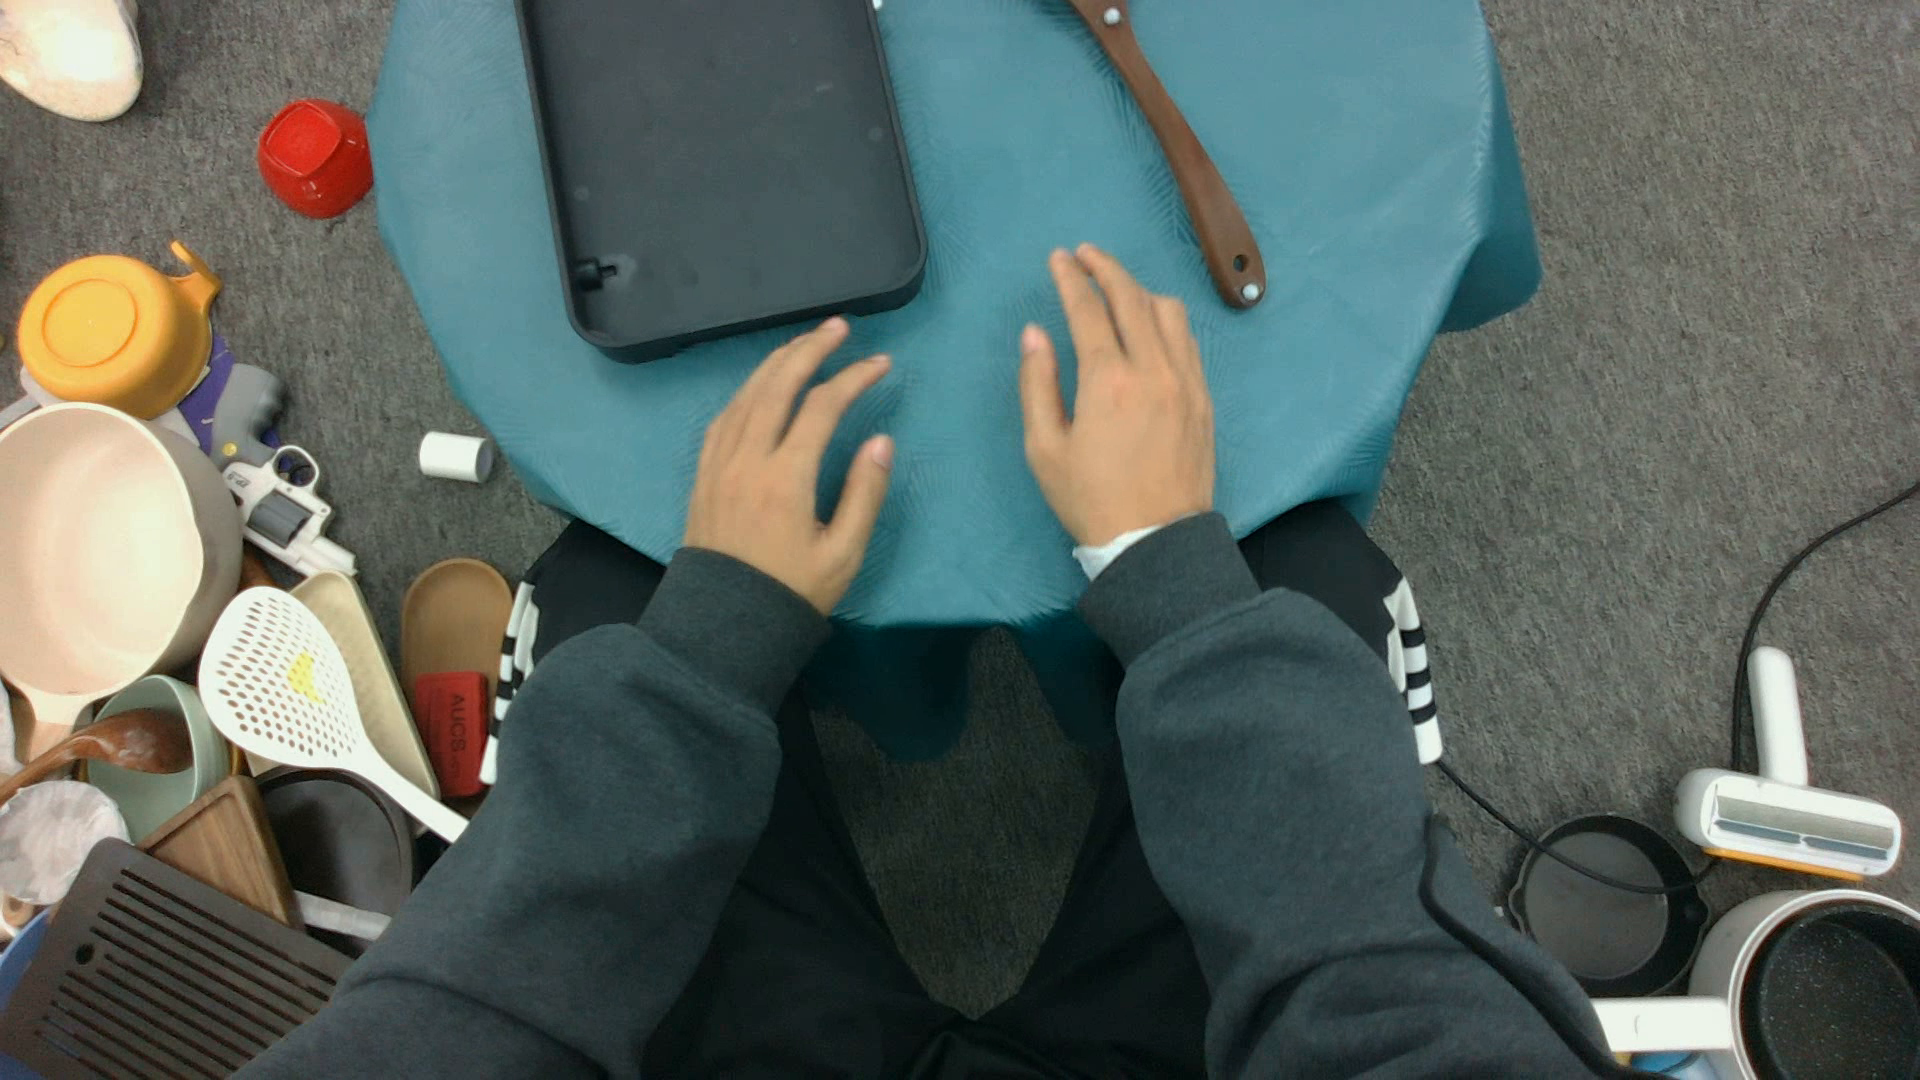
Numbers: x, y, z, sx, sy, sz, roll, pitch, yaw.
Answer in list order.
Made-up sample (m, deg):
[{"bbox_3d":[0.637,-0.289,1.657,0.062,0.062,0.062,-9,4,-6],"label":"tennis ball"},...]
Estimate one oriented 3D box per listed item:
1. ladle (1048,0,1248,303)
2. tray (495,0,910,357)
[{"bbox_3d":[0.089,-0.245,0.712,0.076,0.065,0.260,-24,80,-6],"label":"ladle"},{"bbox_3d":[-0.145,-0.260,0.726,0.184,0.037,0.318,-13,78,-3],"label":"tray"}]
